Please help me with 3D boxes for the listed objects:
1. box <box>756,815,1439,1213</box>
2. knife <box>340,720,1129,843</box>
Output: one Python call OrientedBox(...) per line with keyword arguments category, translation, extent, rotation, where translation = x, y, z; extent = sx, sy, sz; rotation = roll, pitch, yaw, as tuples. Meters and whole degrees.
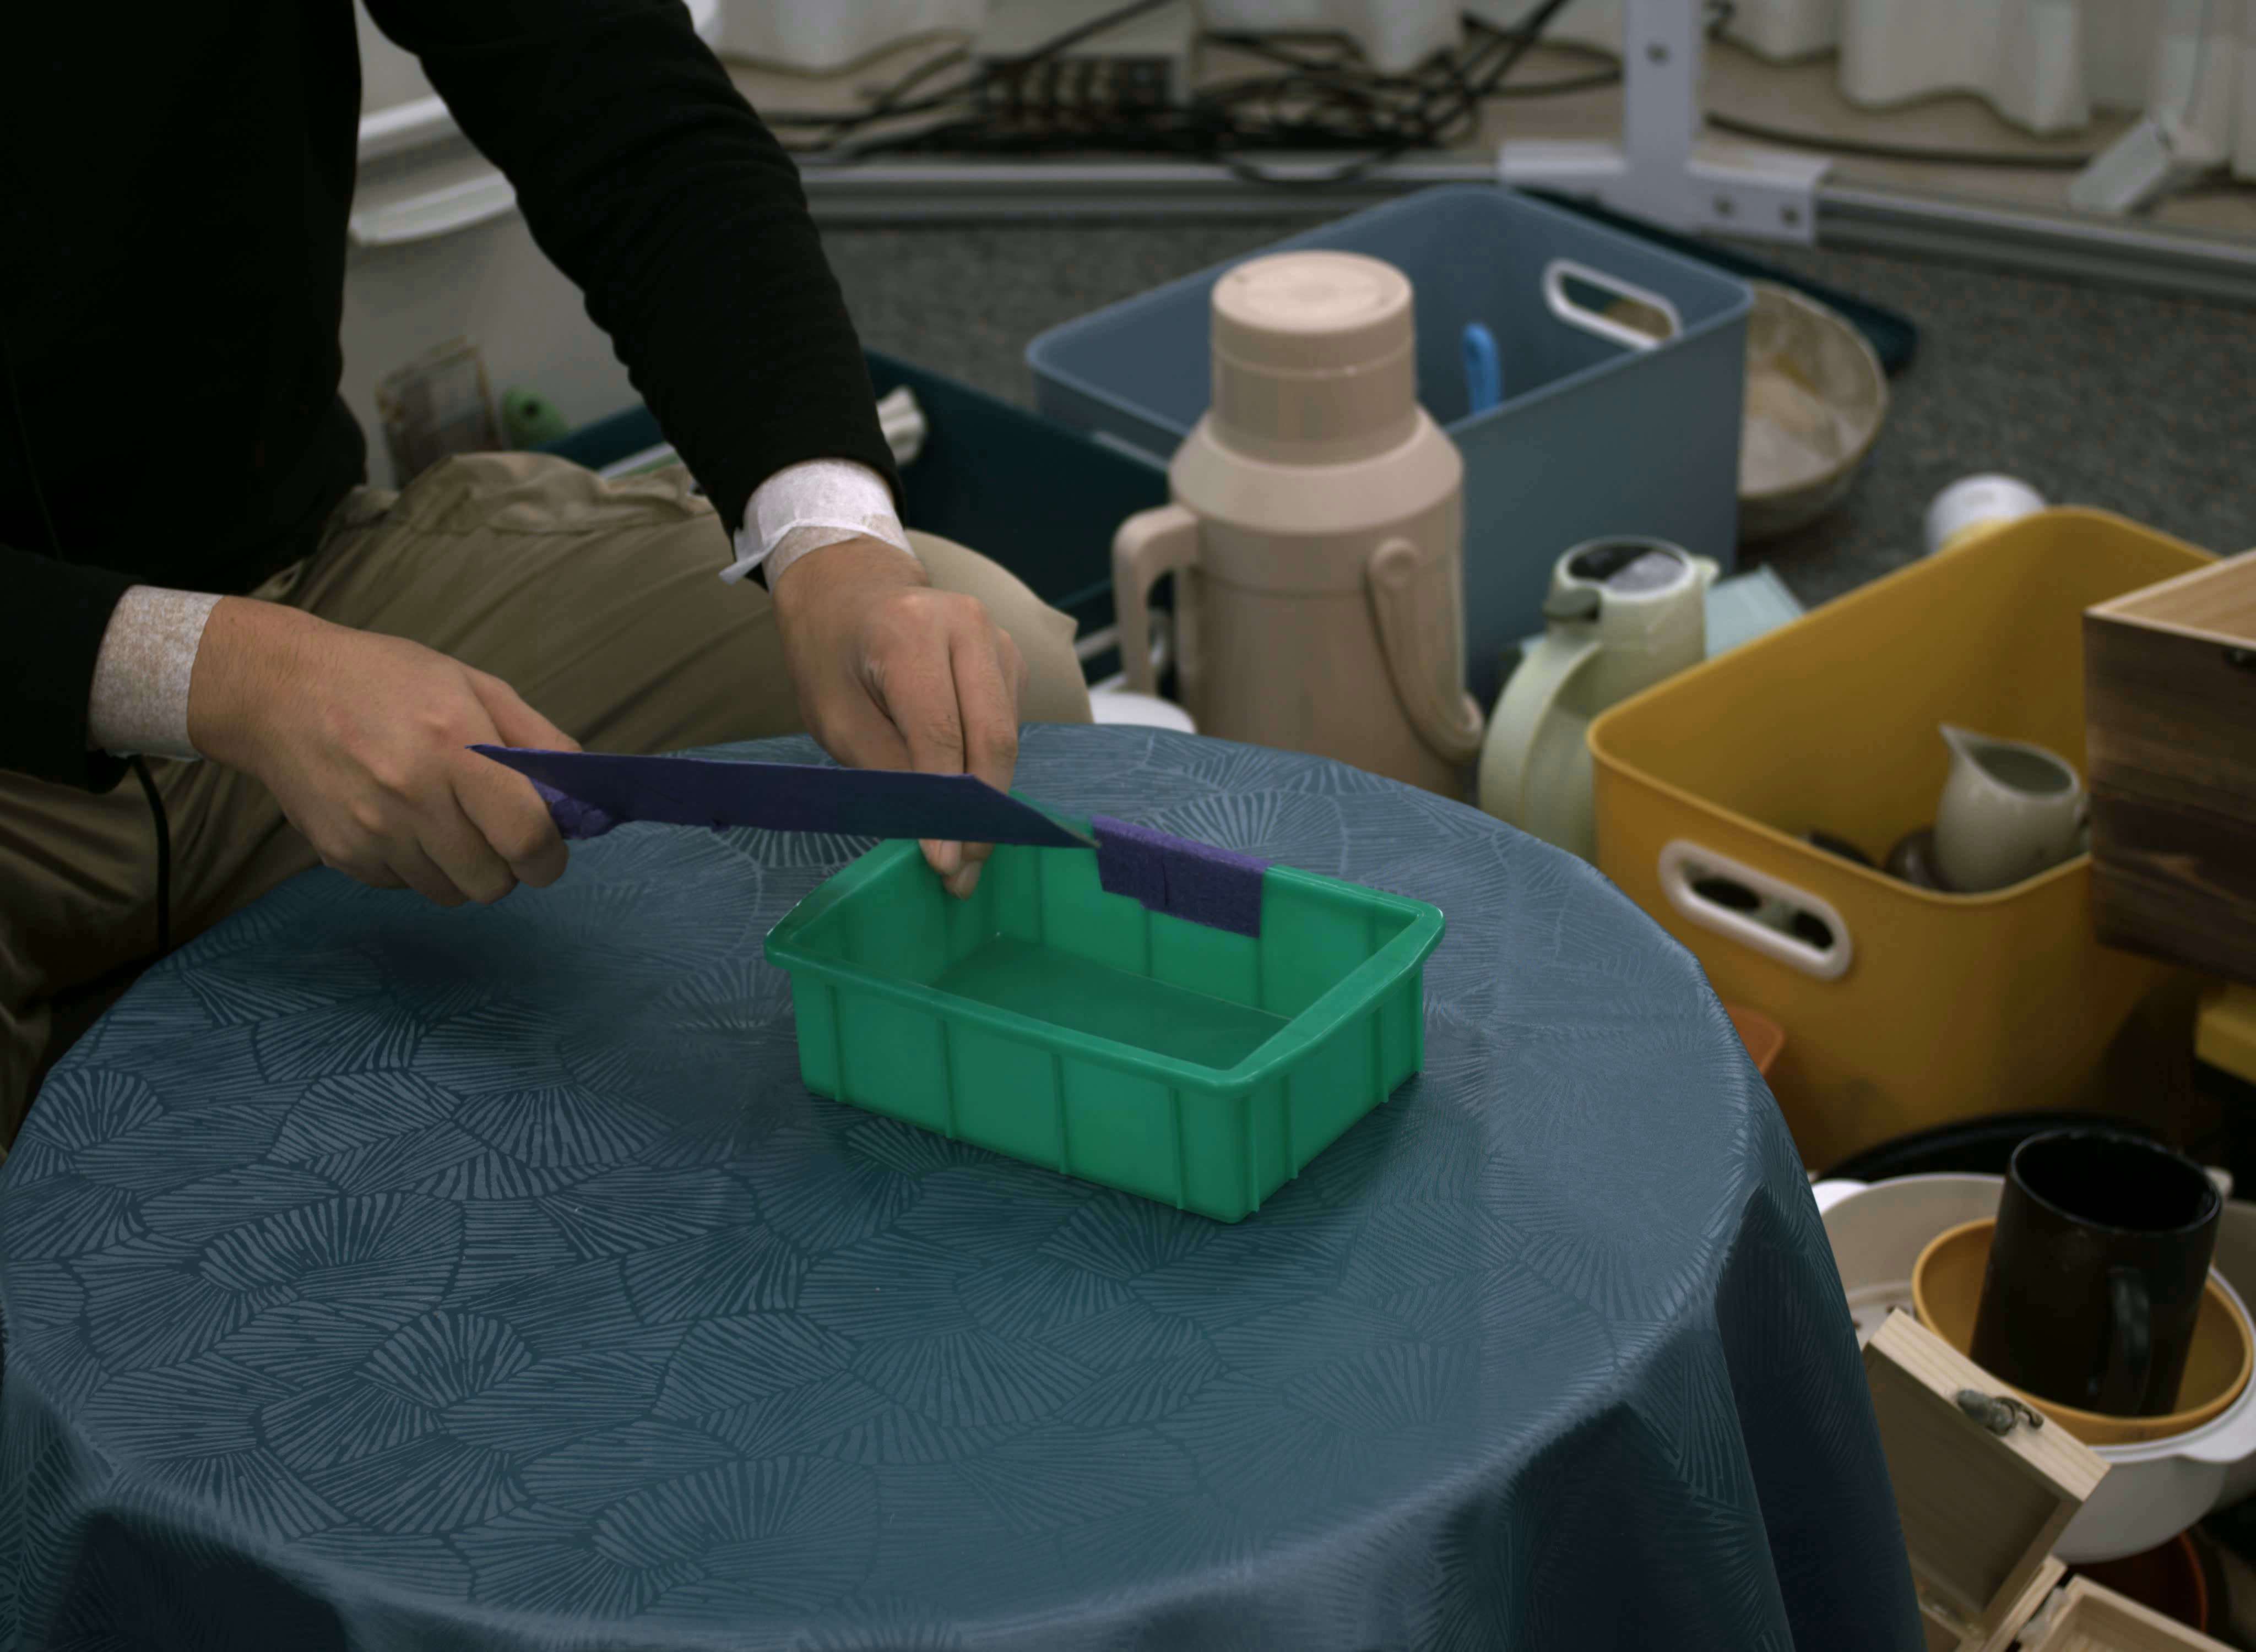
OrientedBox(category="box", translation=(-0.009, 0.060, 1.914), extent=(0.209, 0.065, 0.141), rotation=(13, 29, 31))
OrientedBox(category="knife", translation=(-0.155, -0.017, 1.918), extent=(0.312, 0.032, 0.103), rotation=(1, -16, 30))
